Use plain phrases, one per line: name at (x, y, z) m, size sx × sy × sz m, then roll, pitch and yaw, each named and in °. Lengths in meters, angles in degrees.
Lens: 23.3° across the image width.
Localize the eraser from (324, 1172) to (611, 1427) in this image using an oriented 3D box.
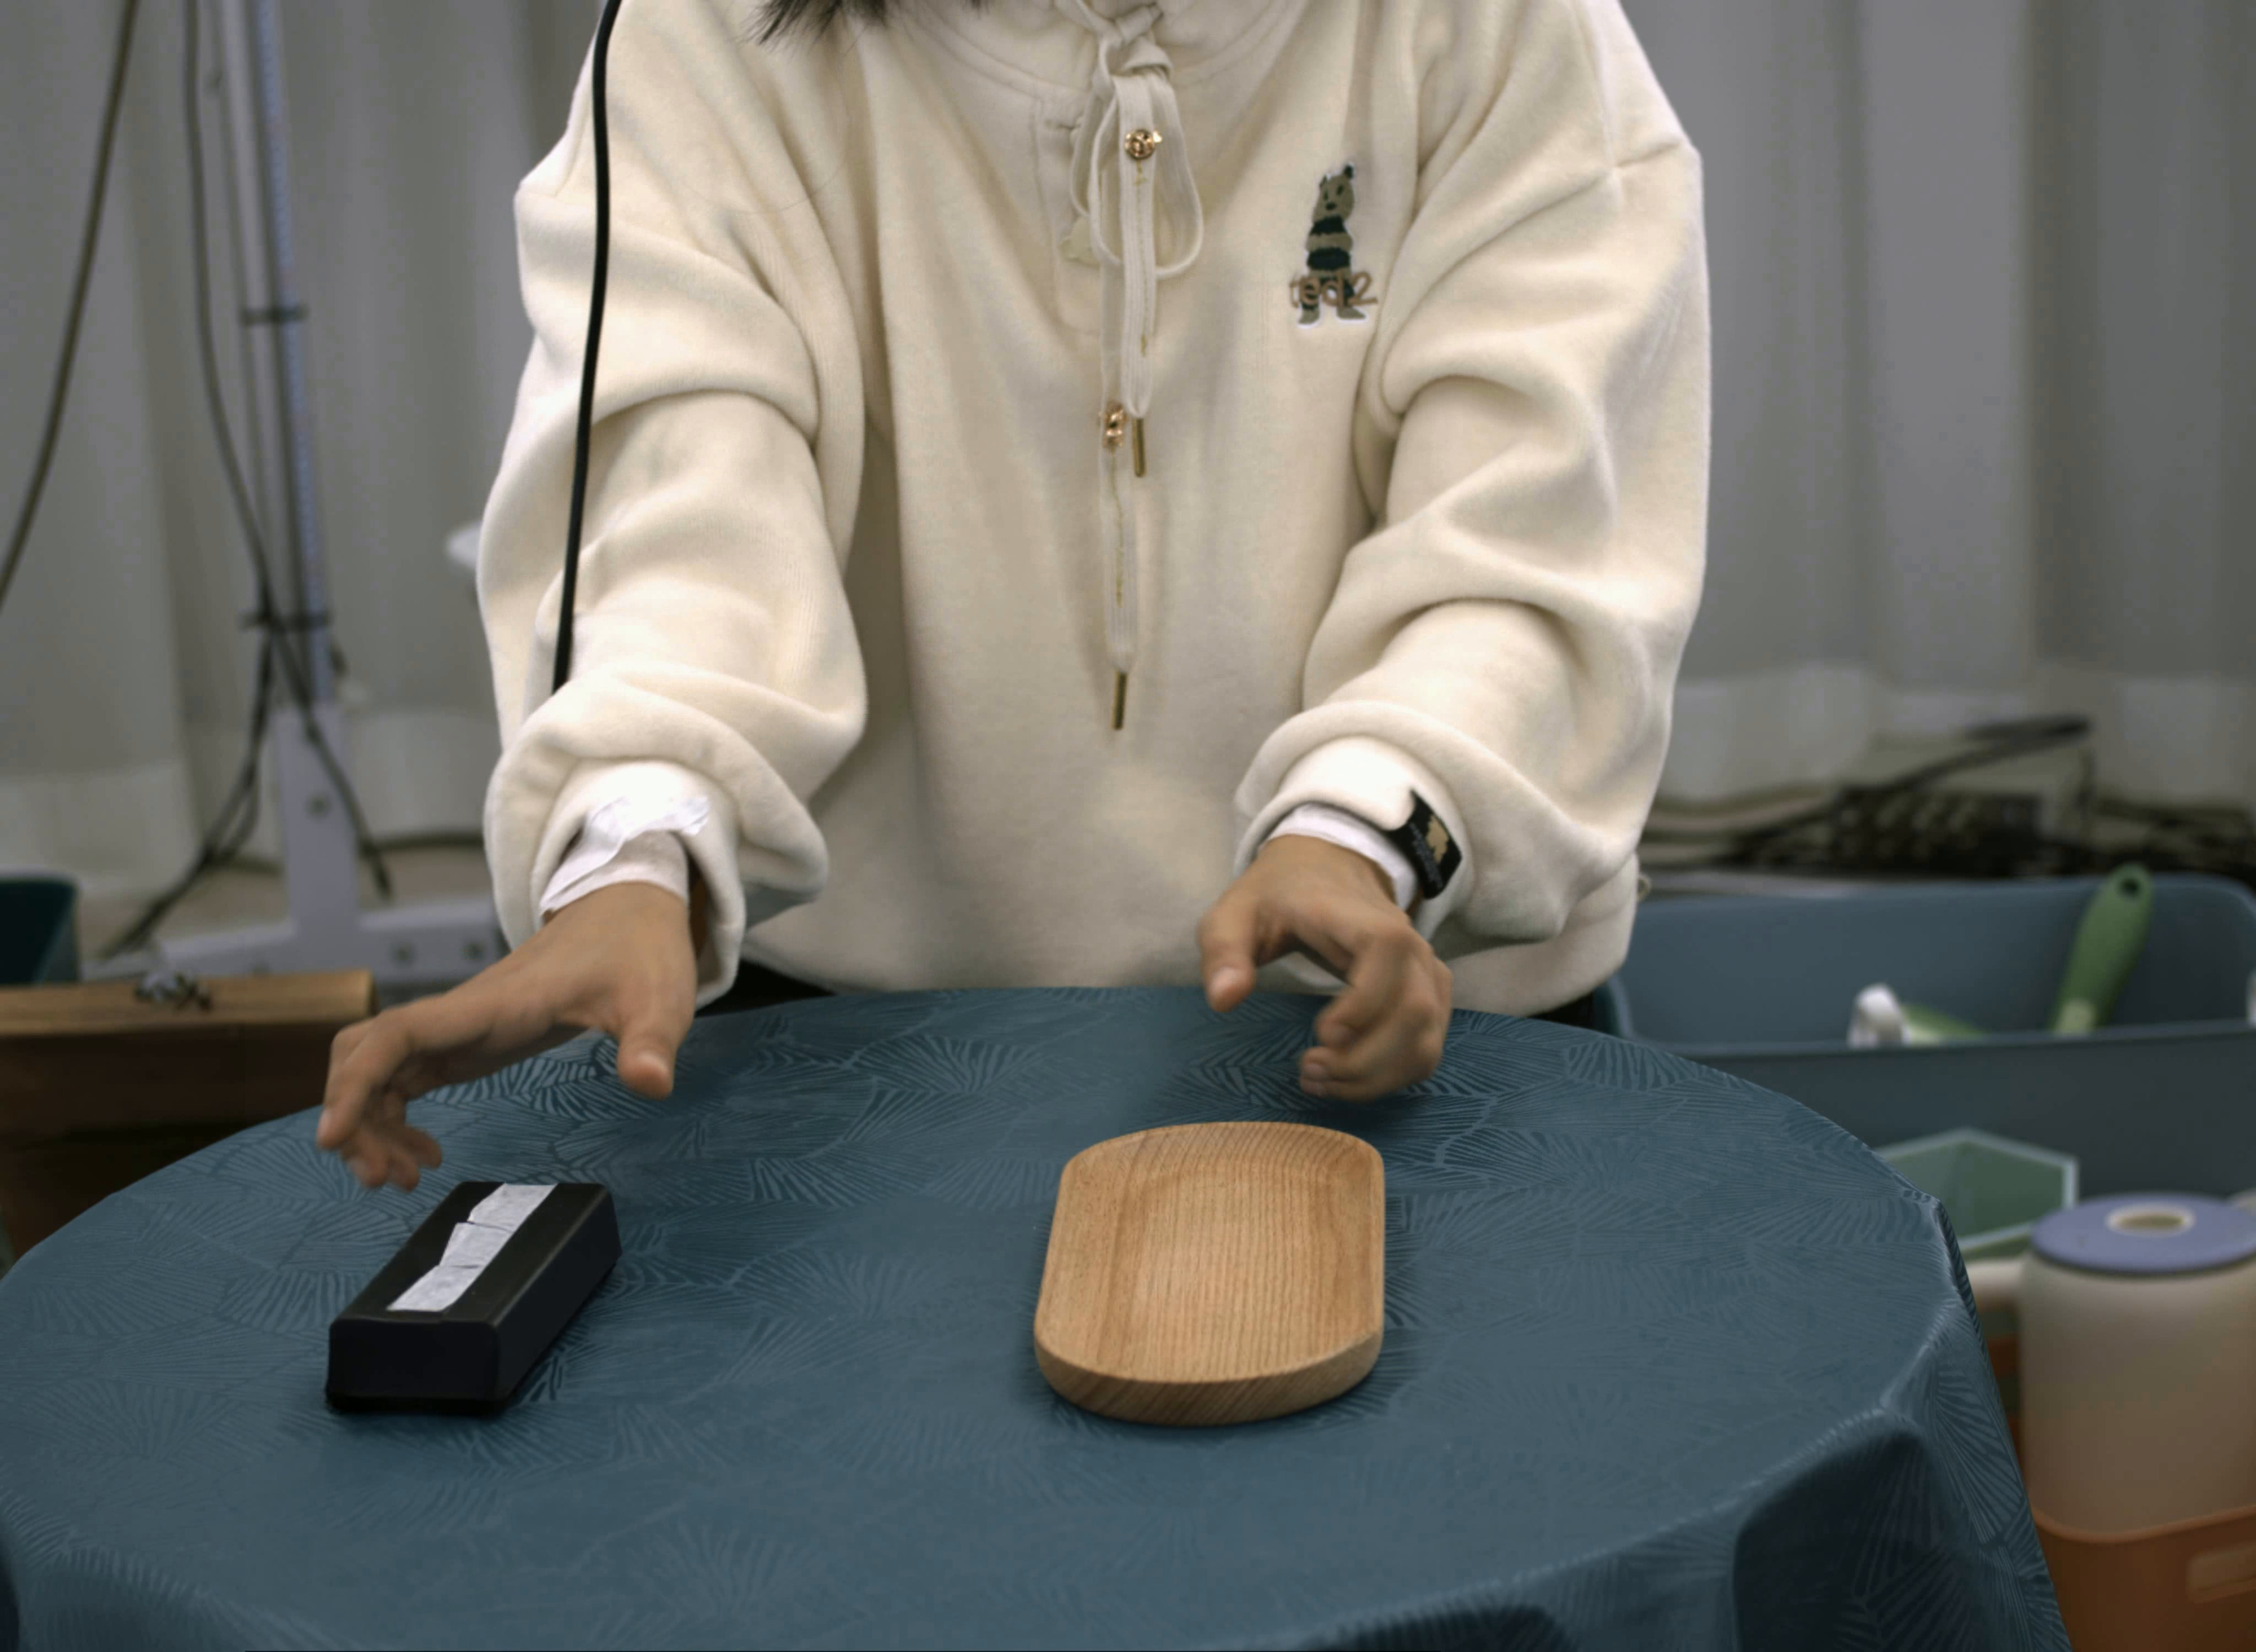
eraser at (-0.192, 0.138, 1.606) m, size 0.053 × 0.030 × 0.126 m, roll 6°, pitch 17°, yaw 8°

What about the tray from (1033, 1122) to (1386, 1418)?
tray at (0.025, 0.129, 1.624) m, size 0.101 × 0.020 × 0.232 m, roll -2°, pitch 13°, yaw 1°
